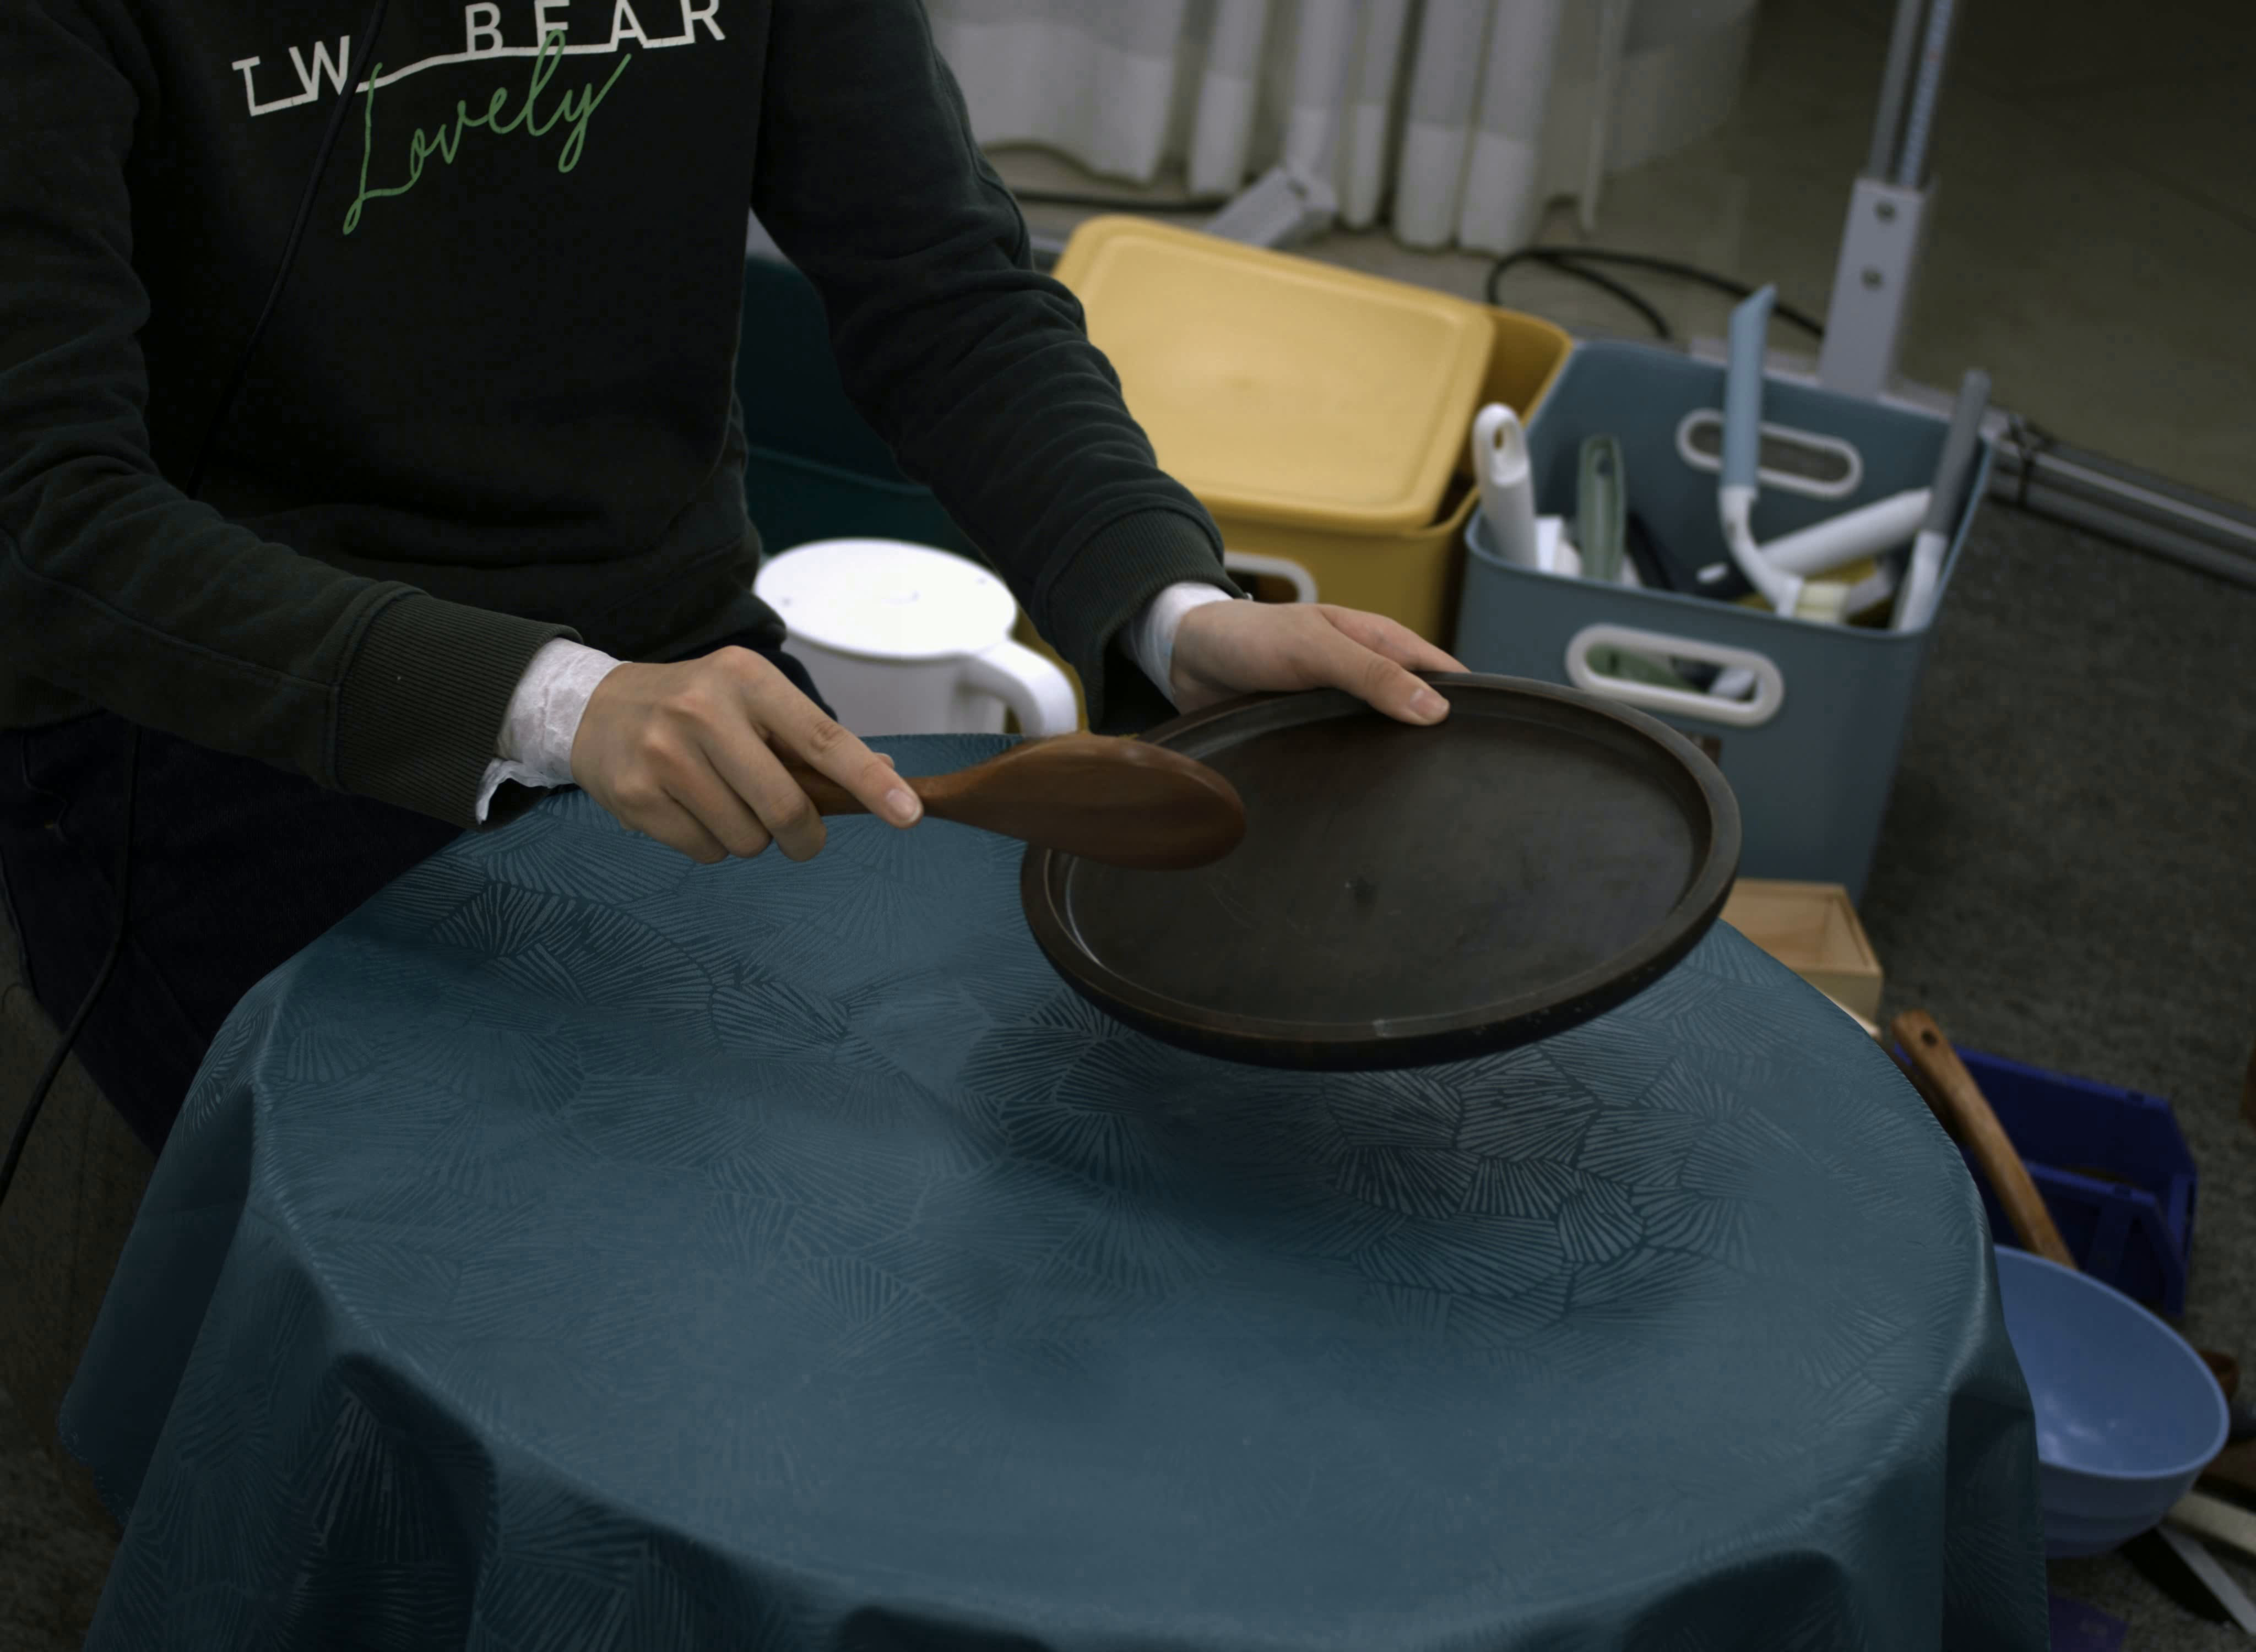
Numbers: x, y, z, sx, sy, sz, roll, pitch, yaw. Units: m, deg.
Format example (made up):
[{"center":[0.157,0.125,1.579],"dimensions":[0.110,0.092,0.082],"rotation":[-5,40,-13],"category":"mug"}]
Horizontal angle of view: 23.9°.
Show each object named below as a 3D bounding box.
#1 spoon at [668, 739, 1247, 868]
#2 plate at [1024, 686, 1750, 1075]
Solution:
[{"center":[-0.061,-0.009,1.790],"dimensions":[0.216,0.075,0.017],"rotation":[4,61,27],"category":"spoon"},{"center":[0.090,0.016,1.854],"dimensions":[0.254,0.029,0.256],"rotation":[-5,30,2],"category":"plate"}]
